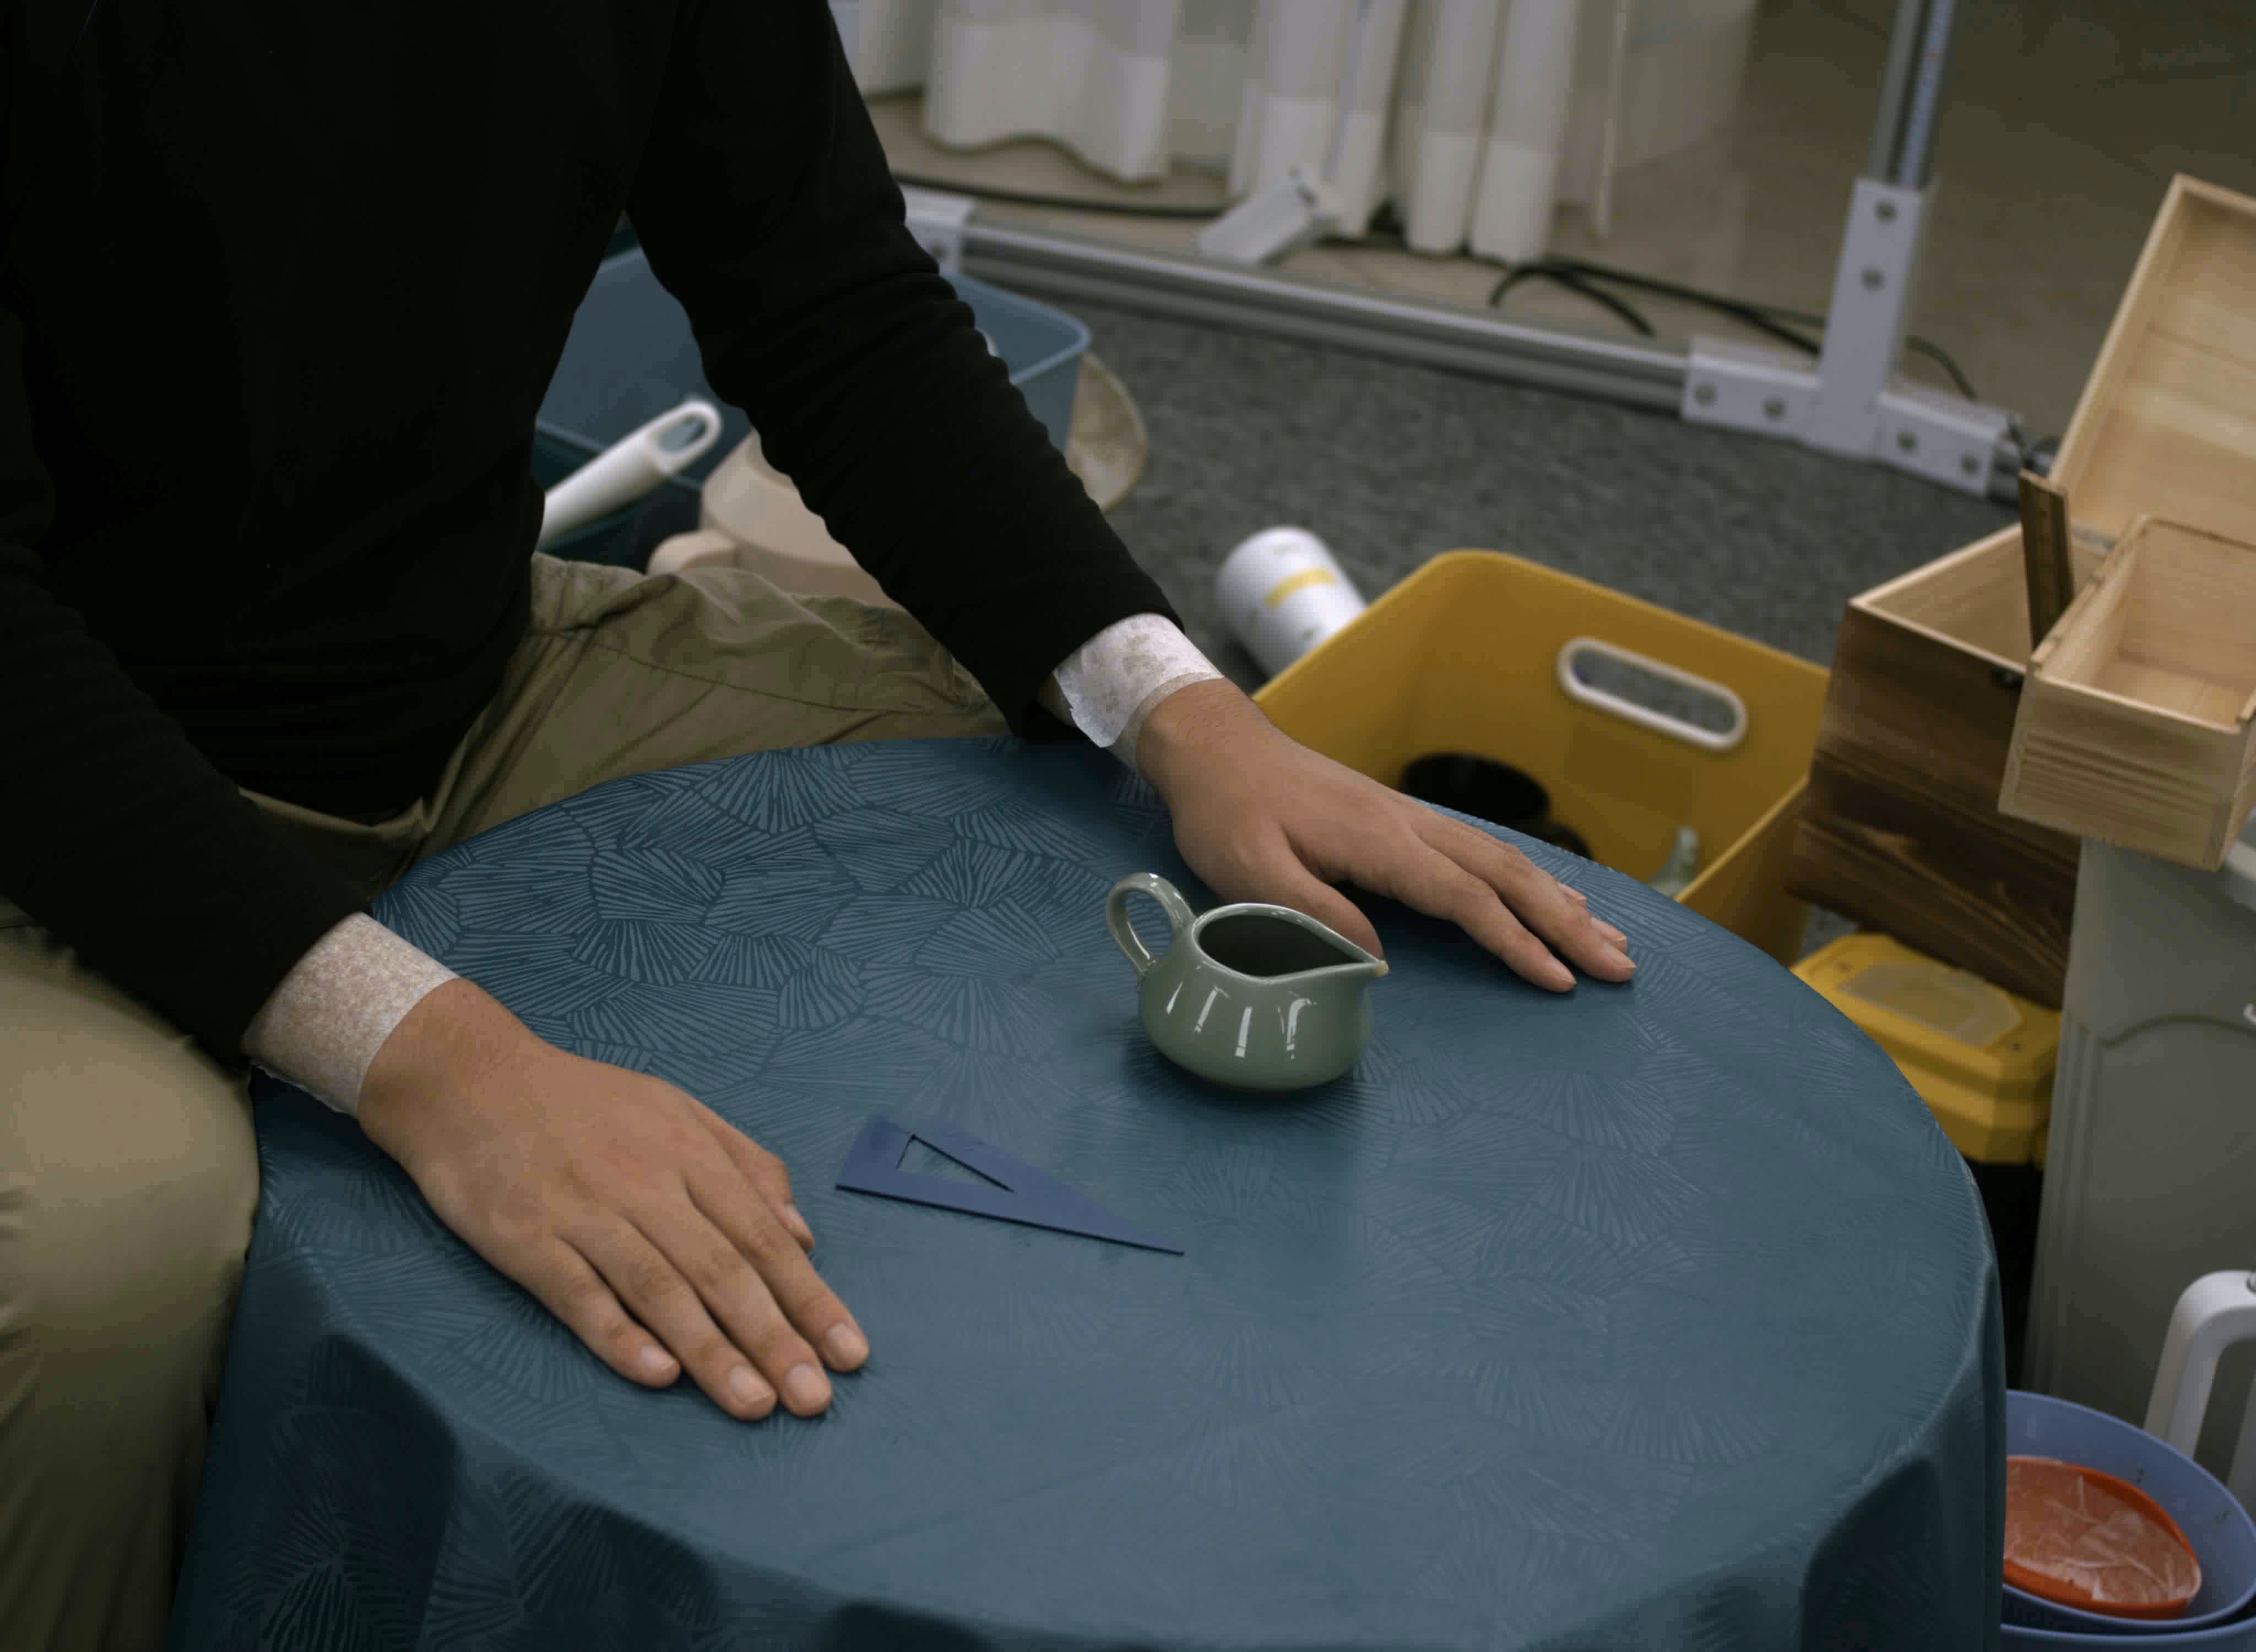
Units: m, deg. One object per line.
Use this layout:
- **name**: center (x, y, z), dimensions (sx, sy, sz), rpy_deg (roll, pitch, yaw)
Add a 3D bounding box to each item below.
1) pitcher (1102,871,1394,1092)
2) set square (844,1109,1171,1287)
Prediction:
- **pitcher**: center (0.040, 0.055, 1.883), dimensions (0.113, 0.056, 0.084), rpy_deg (19, 27, 23)
- **set square**: center (-0.048, 0.129, 1.776), dimensions (0.133, 0.006, 0.061), rpy_deg (29, 33, 36)
